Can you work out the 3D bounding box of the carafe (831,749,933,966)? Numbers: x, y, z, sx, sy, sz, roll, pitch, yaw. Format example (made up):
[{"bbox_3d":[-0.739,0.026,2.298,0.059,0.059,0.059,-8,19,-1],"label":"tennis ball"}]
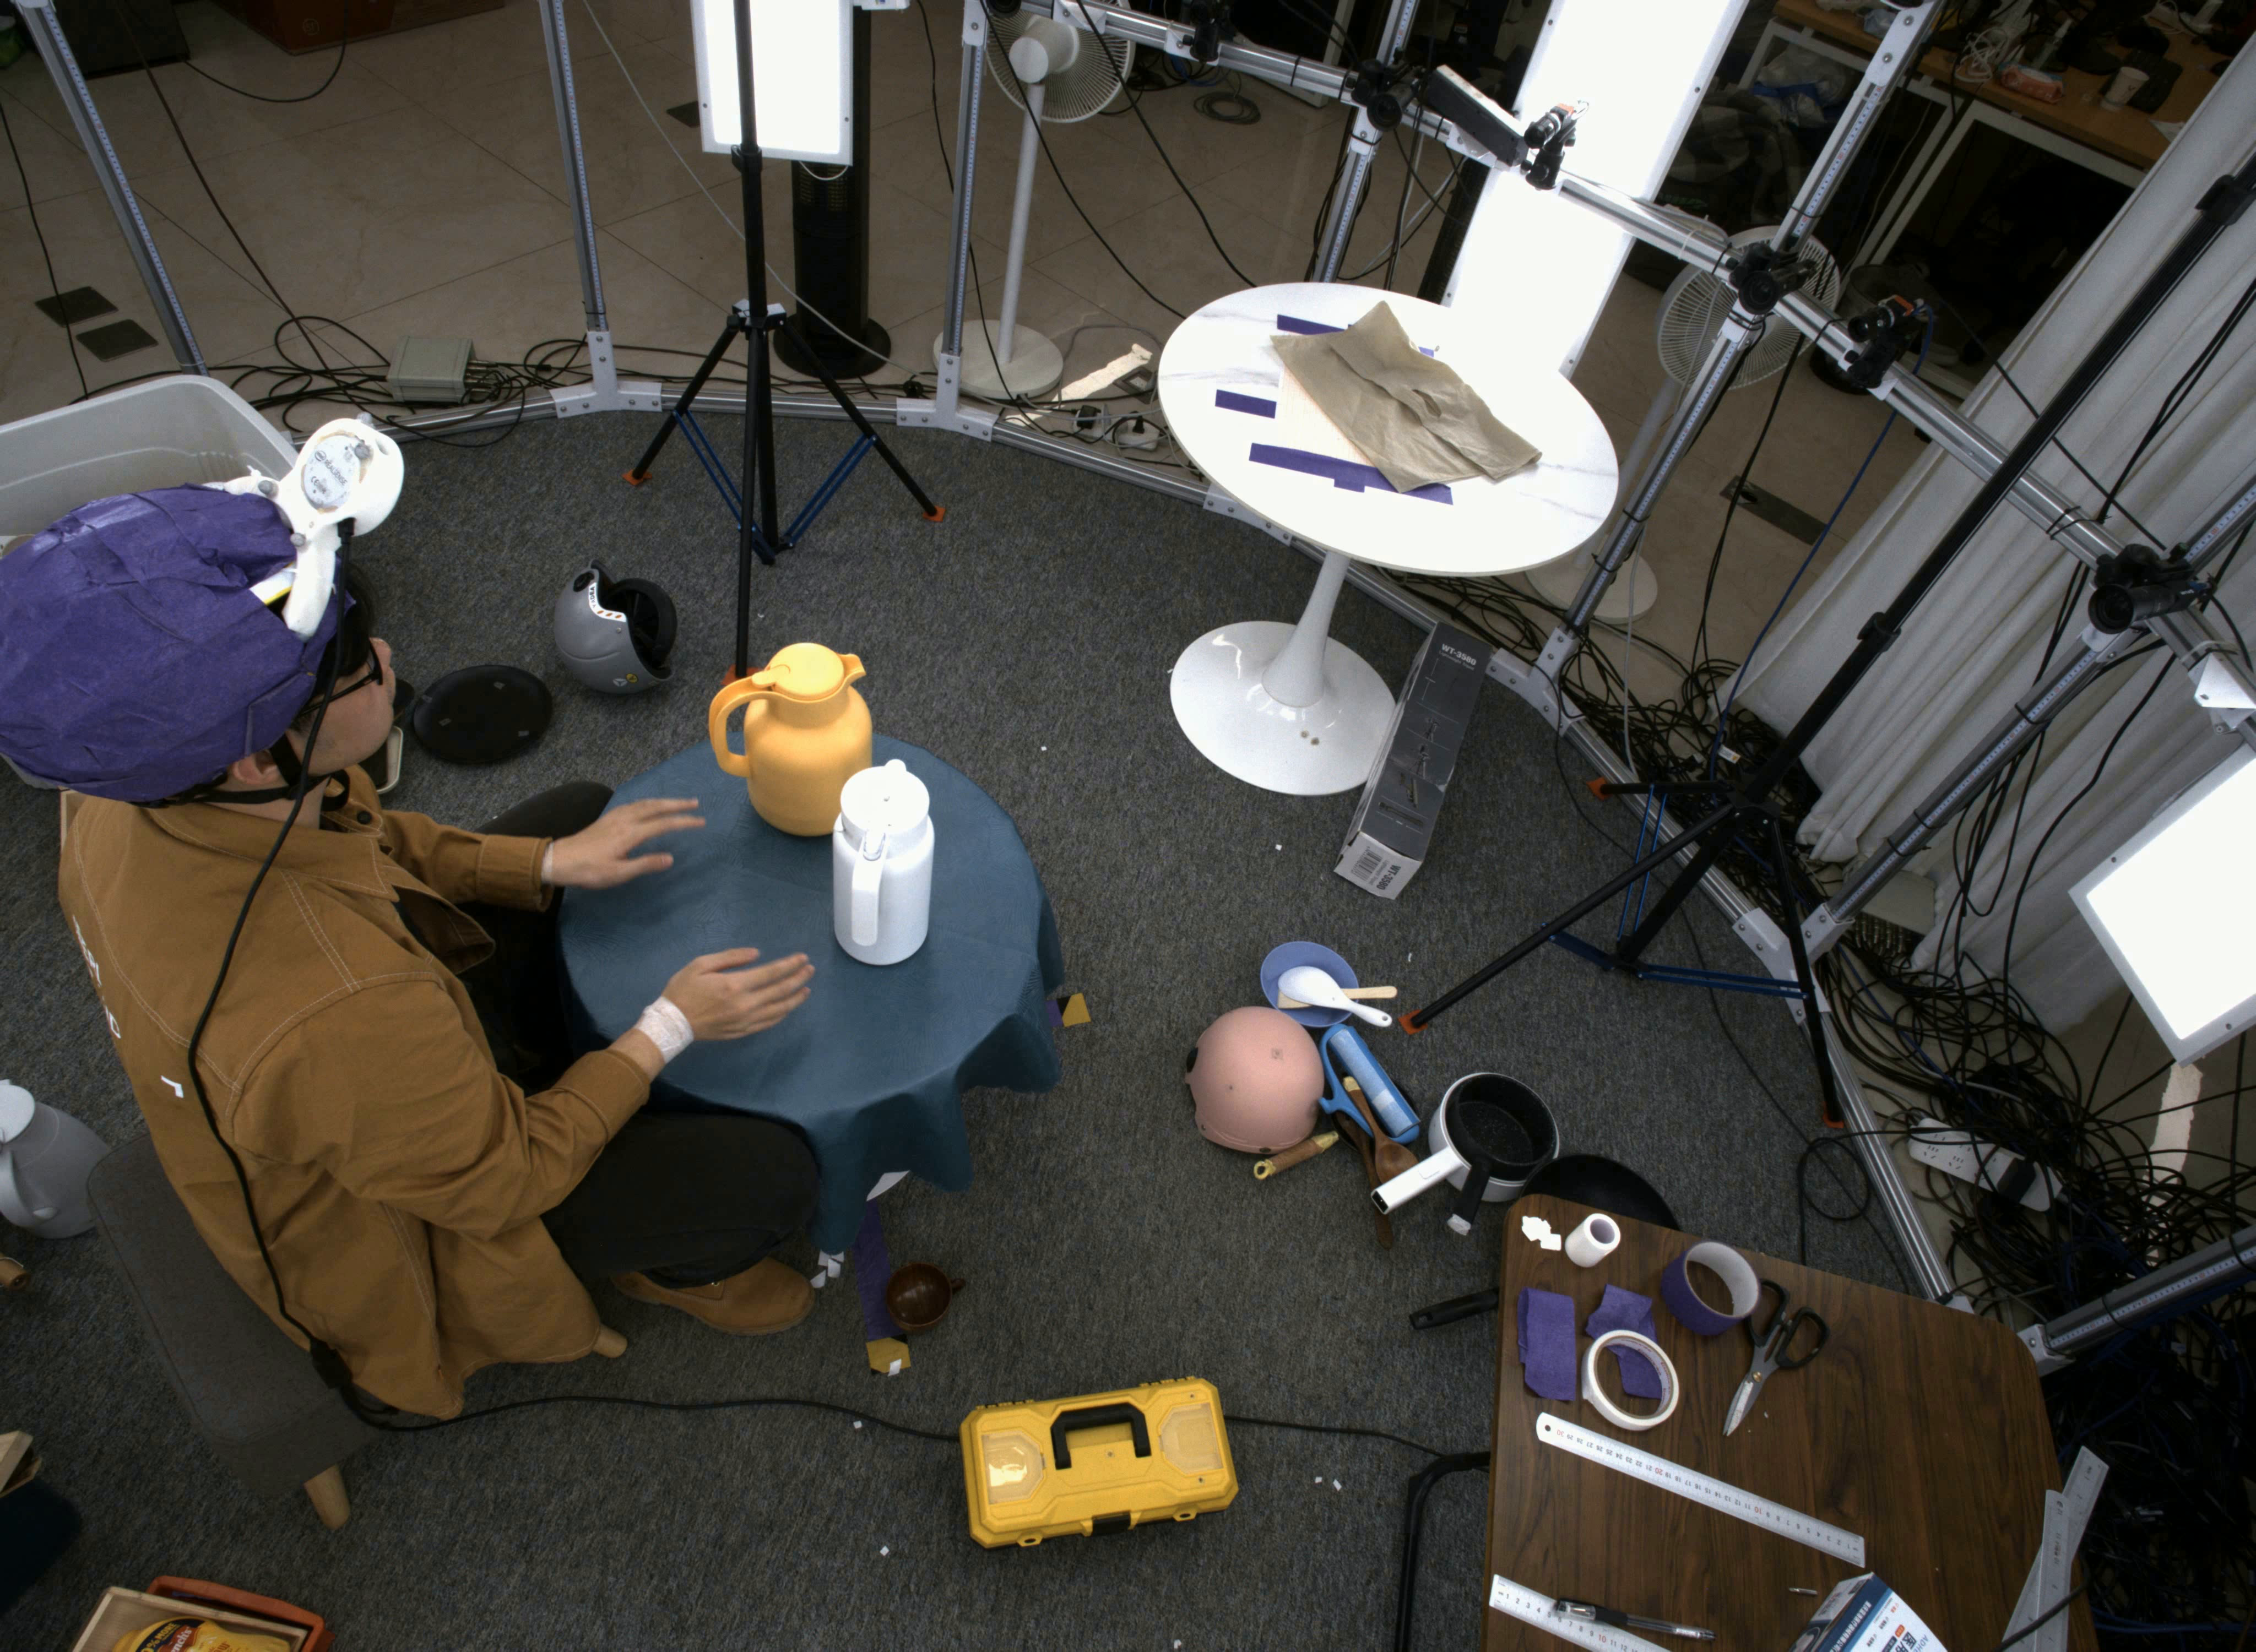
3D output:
[{"bbox_3d":[-0.293,0.060,1.538,0.123,0.274,0.170,10,51,-6],"label":"carafe"}]

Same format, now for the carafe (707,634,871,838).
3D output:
[{"bbox_3d":[-0.426,-0.116,1.637,0.203,0.266,0.159,-13,53,-23],"label":"carafe"}]
